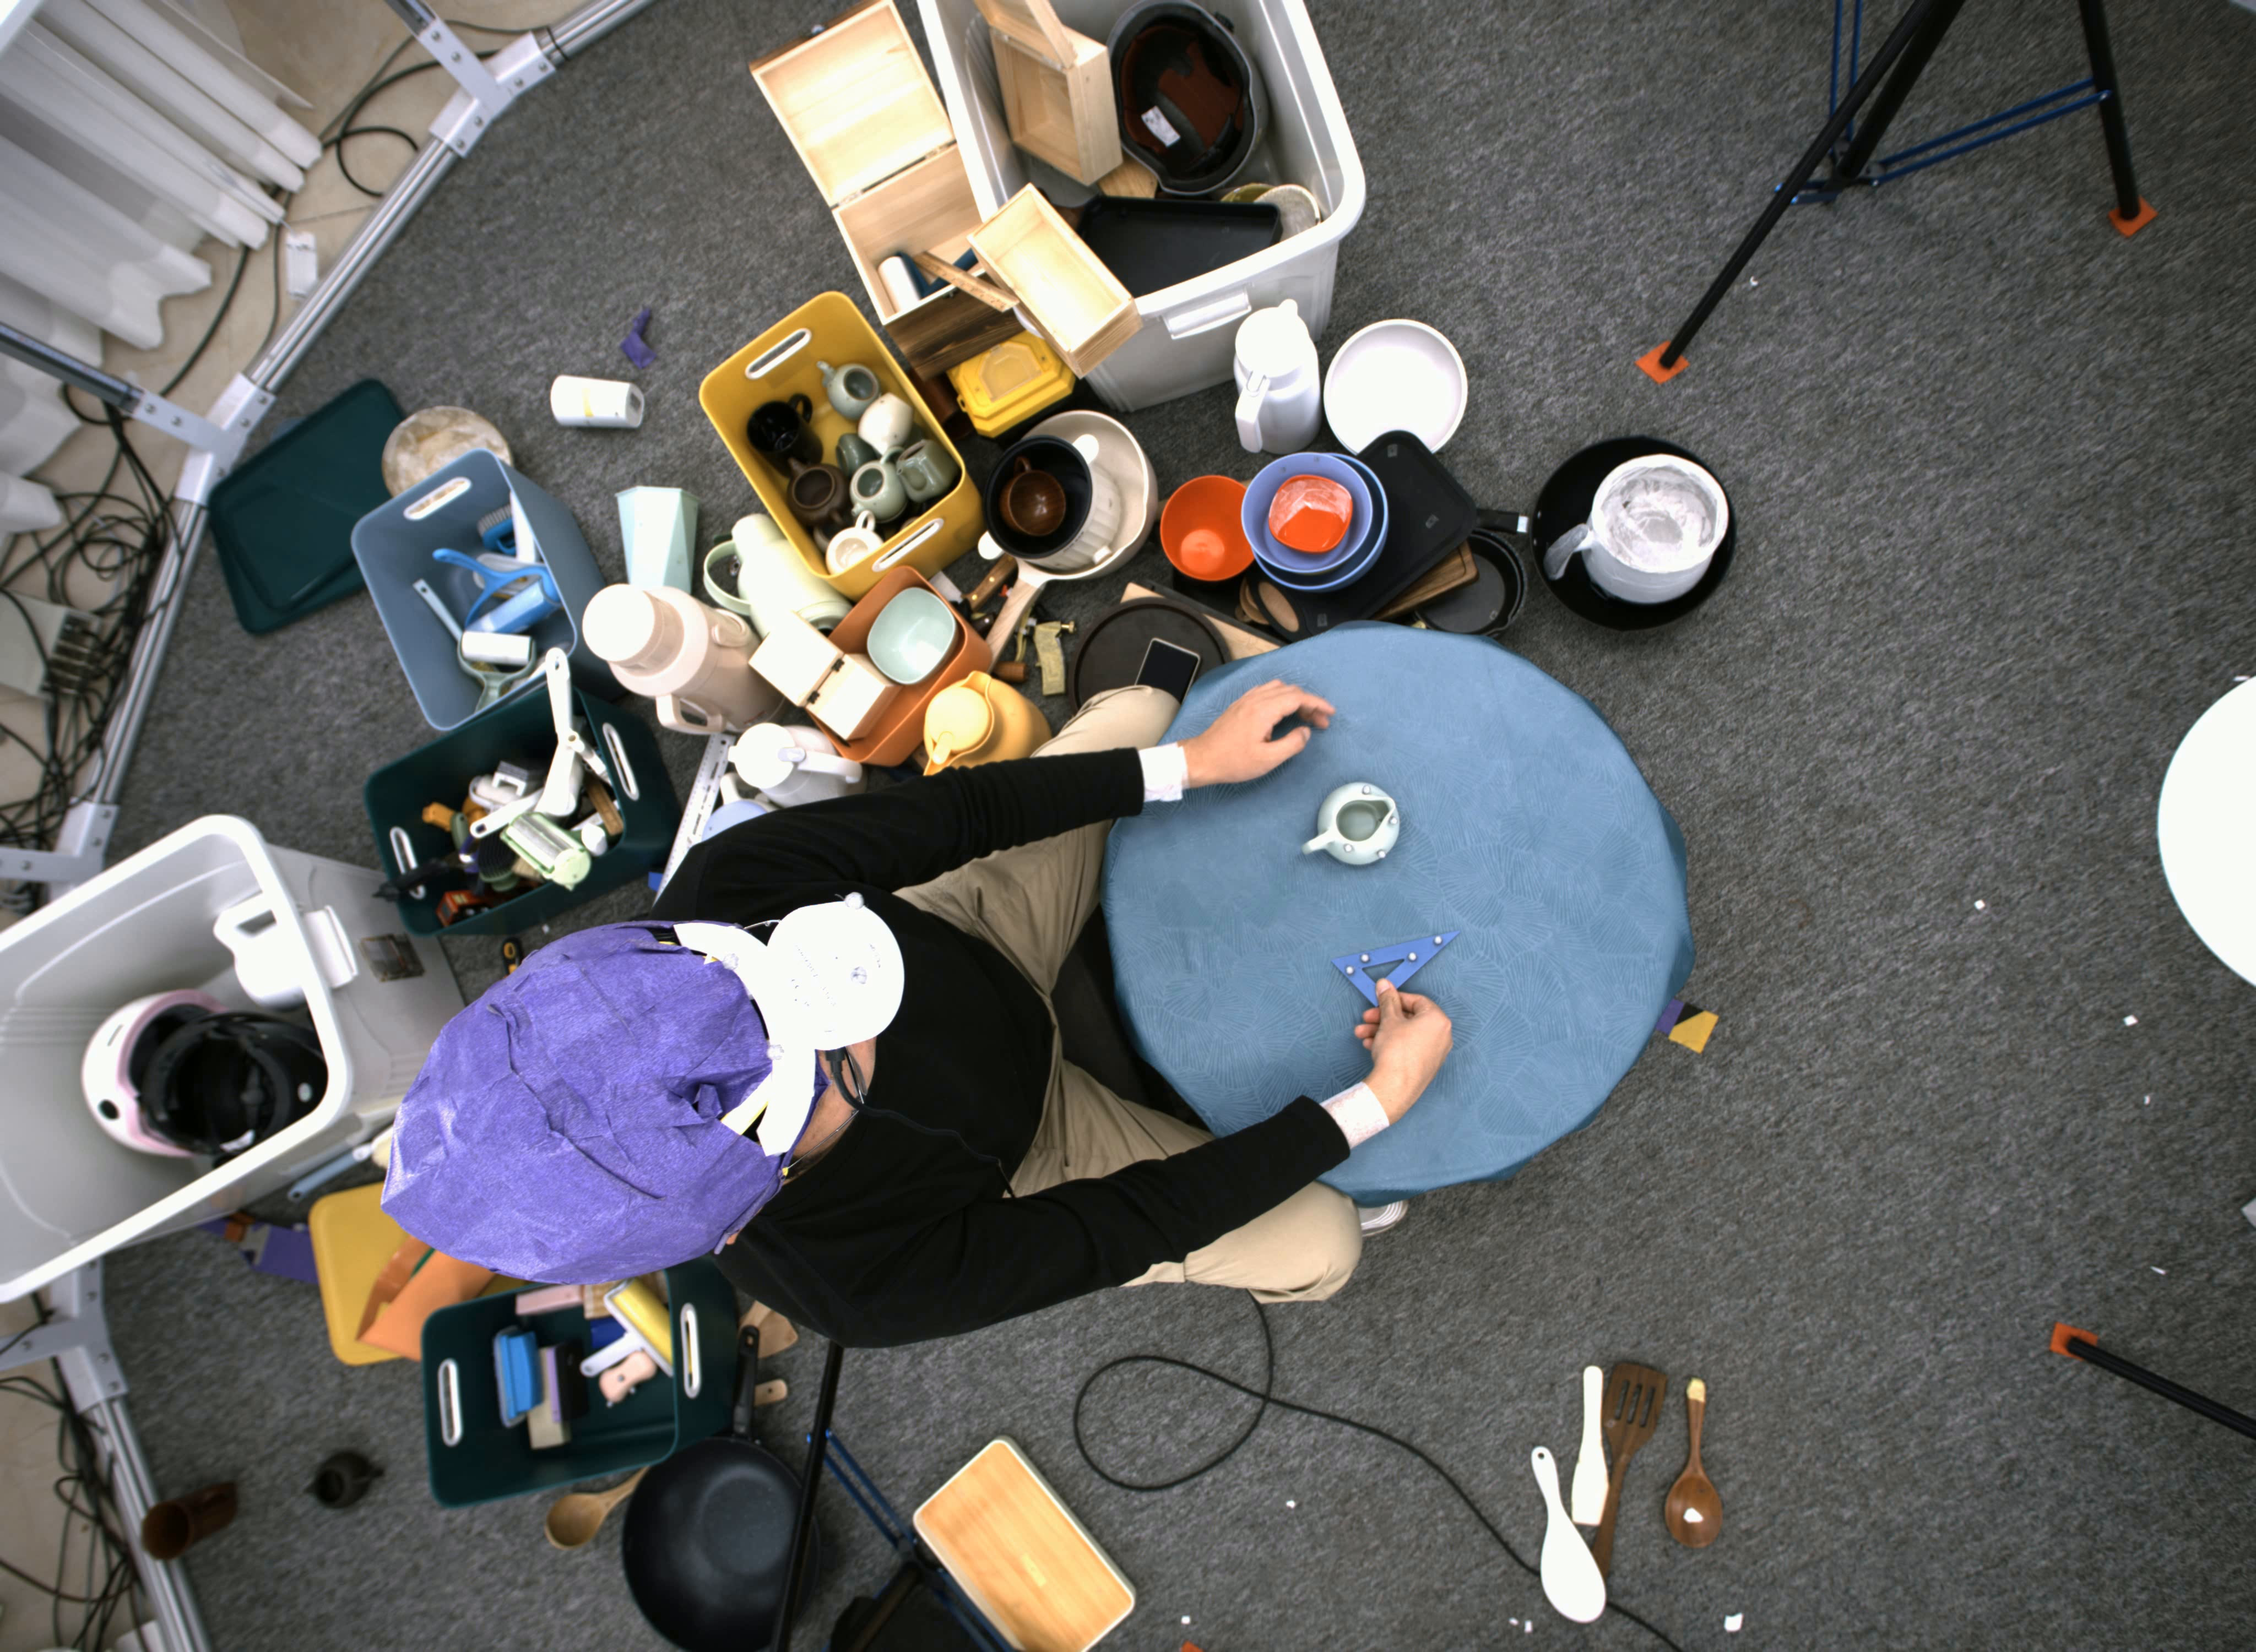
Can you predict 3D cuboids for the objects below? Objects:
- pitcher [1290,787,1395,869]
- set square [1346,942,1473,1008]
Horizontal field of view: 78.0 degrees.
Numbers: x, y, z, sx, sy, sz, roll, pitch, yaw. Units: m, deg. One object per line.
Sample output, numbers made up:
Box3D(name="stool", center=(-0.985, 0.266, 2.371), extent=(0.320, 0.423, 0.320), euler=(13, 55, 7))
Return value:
Box3D(name="pitcher", center=(0.219, 0.003, 1.439), extent=(0.108, 0.060, 0.086), euler=(-12, 94, -8))
Box3D(name="set square", center=(0.296, 0.154, 1.438), extent=(0.133, 0.006, 0.060), euler=(-10, 67, 11))
